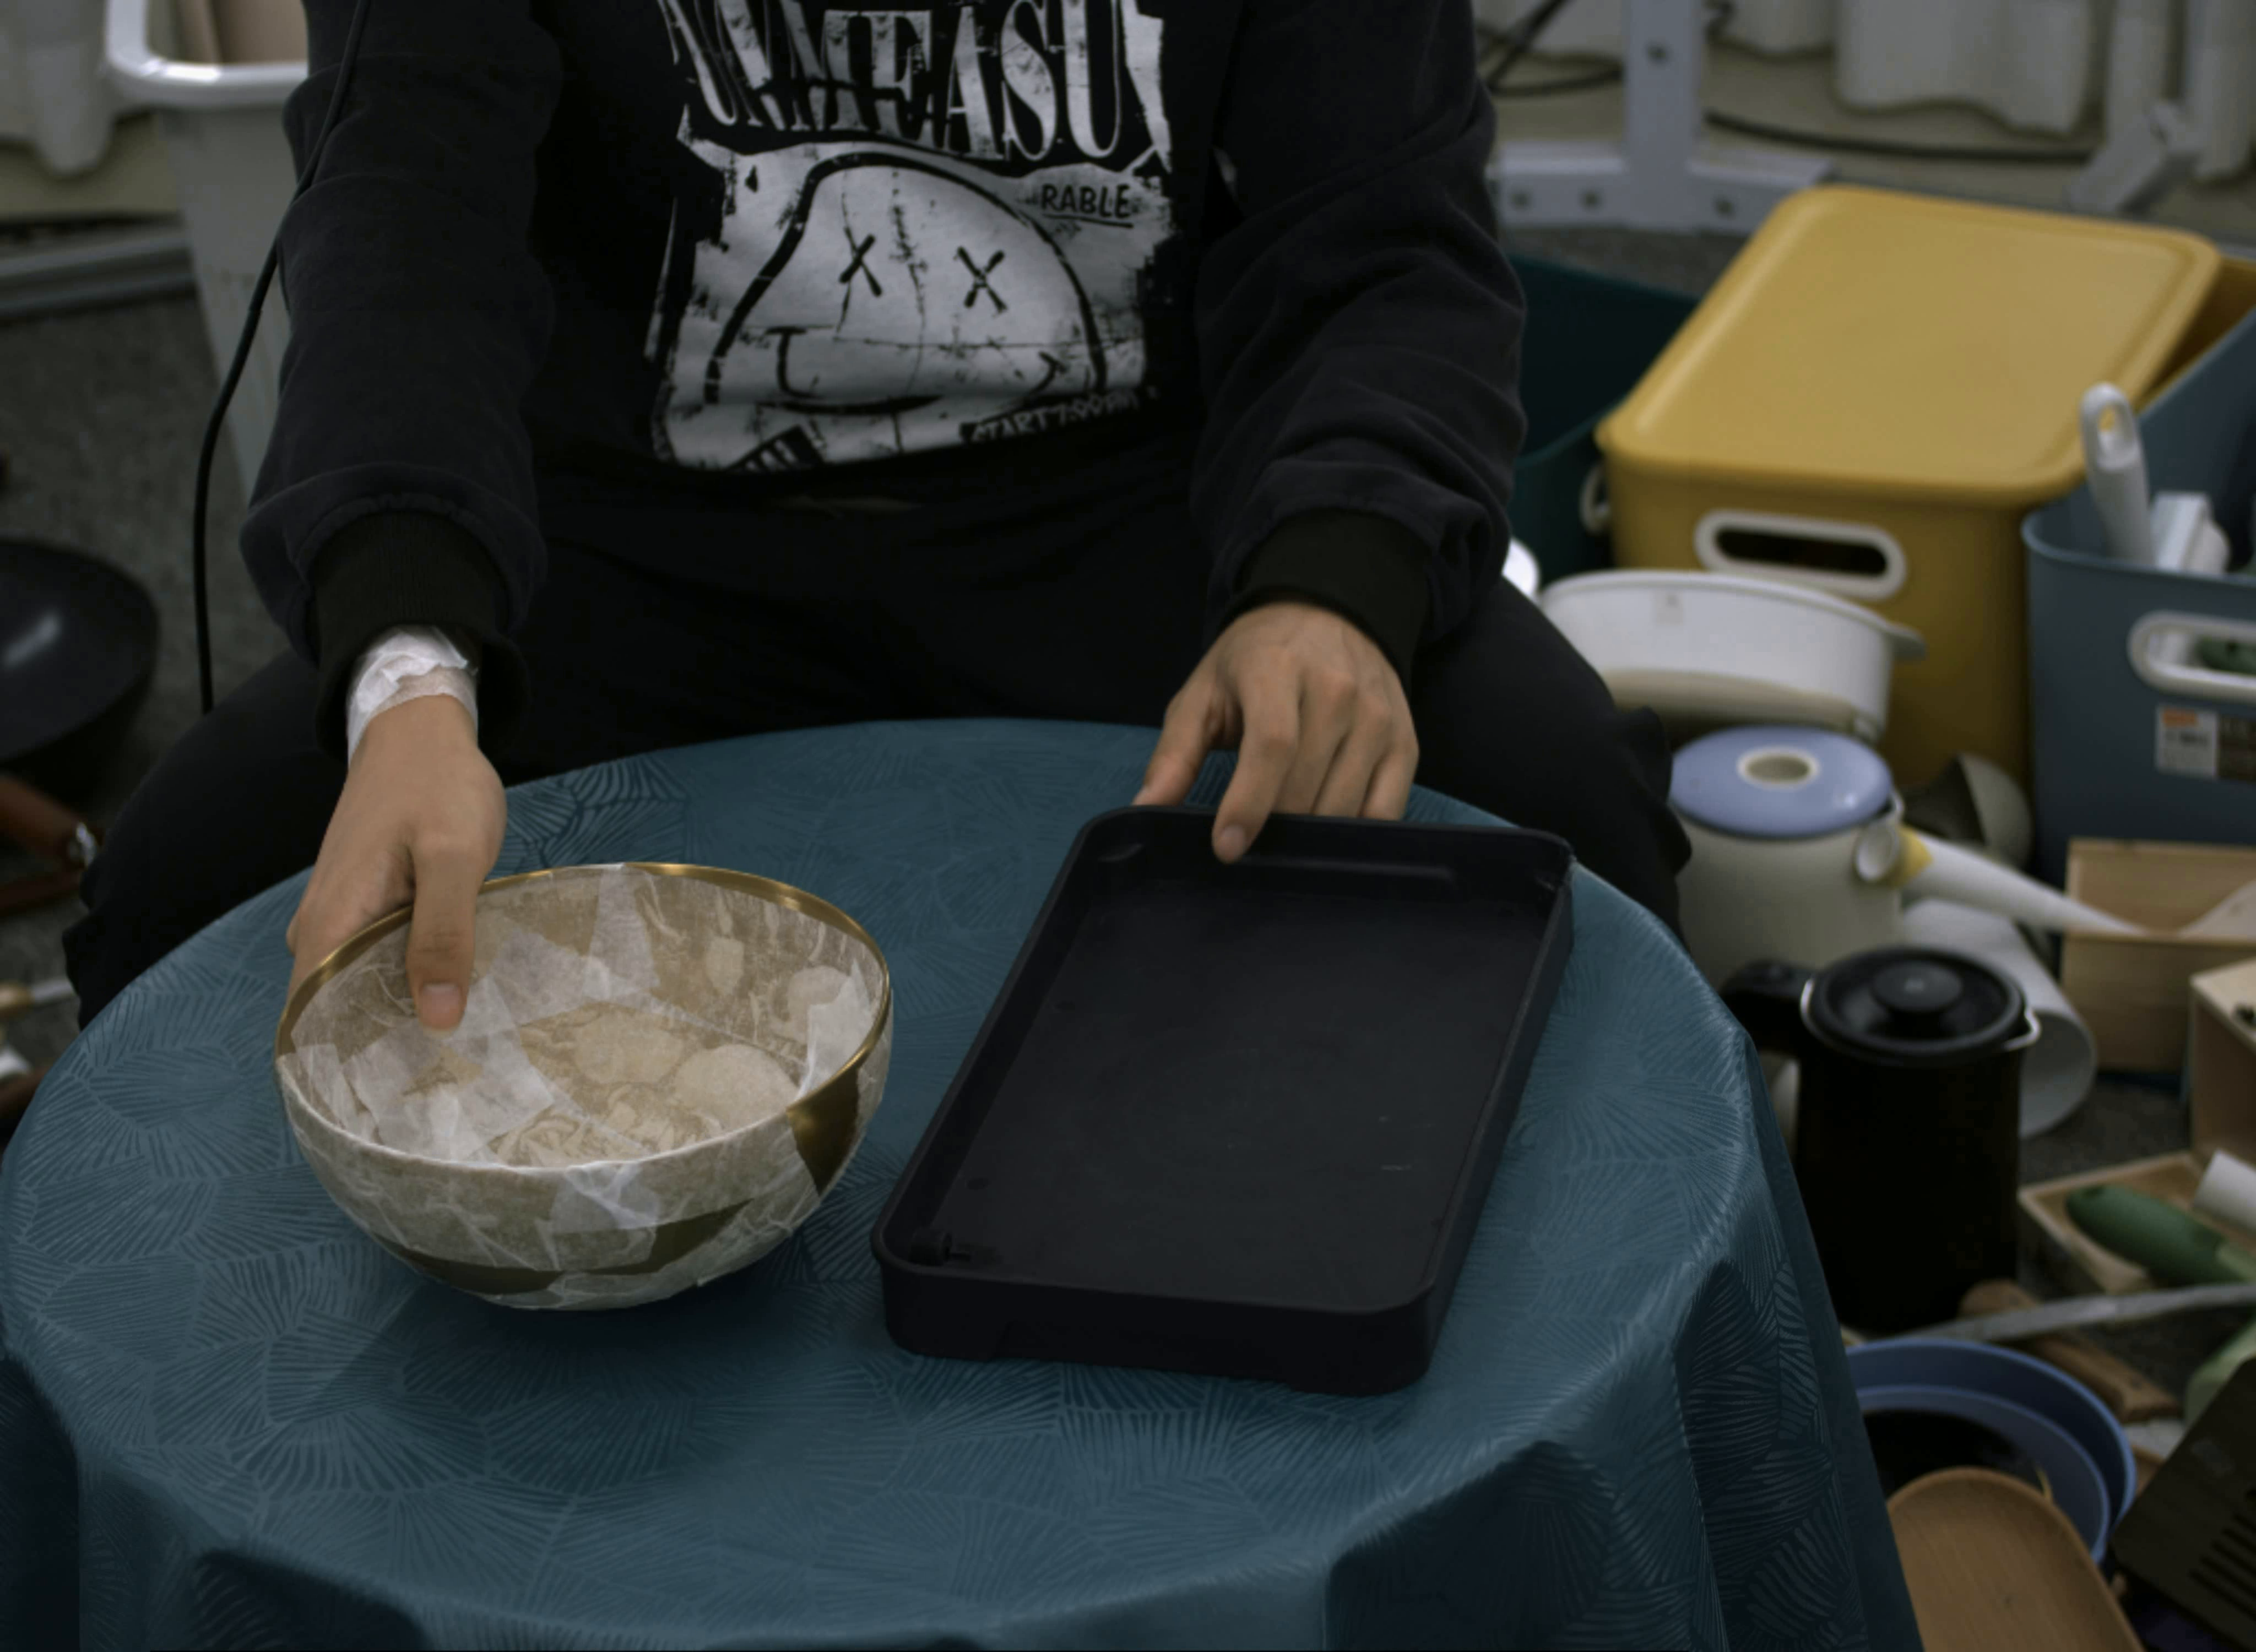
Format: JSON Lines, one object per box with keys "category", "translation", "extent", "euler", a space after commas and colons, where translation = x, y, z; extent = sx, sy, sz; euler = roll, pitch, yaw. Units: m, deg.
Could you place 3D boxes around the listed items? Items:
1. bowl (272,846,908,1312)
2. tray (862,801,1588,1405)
{"category": "bowl", "translation": [-0.169, 0.096, 1.829], "extent": [0.213, 0.093, 0.218], "euler": [-3, 27, 2]}
{"category": "tray", "translation": [0.040, 0.086, 1.889], "extent": [0.183, 0.036, 0.323], "euler": [5, 29, 14]}
